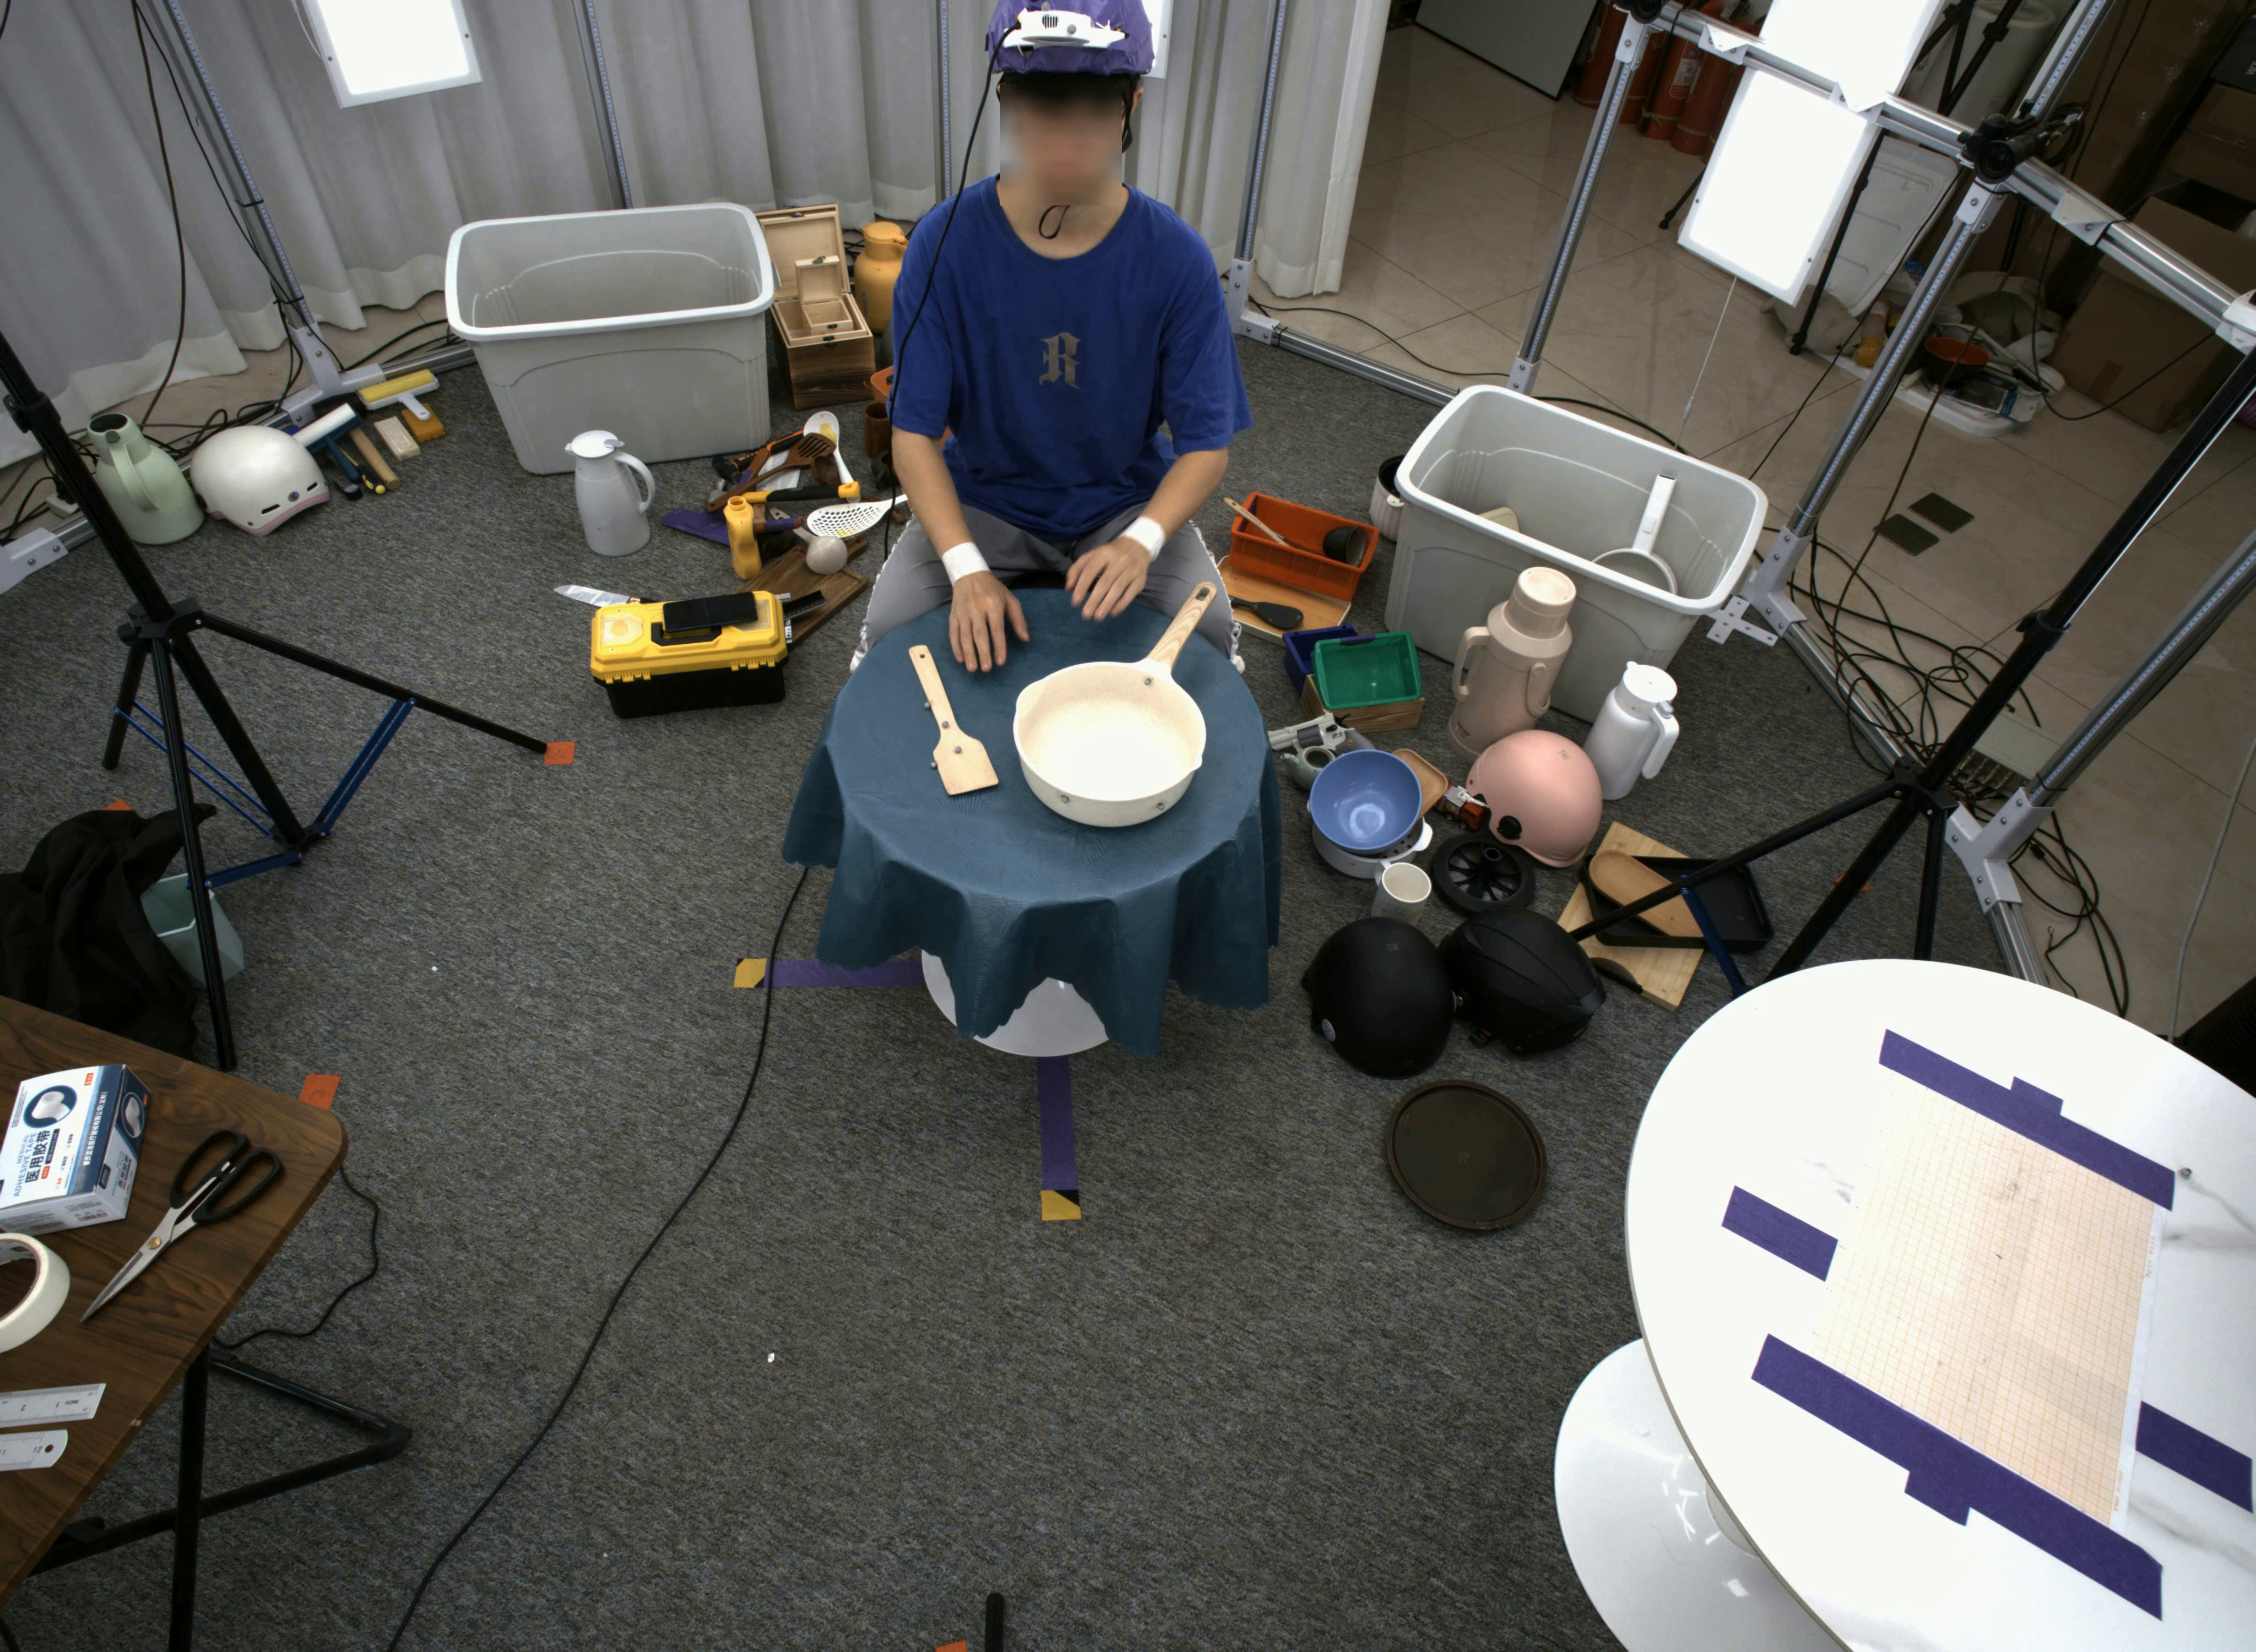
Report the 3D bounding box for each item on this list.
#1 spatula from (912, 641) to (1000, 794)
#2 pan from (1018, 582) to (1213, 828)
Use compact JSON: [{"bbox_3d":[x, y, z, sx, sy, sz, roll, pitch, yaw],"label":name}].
[{"bbox_3d":[-0.253,-0.157,1.786,0.072,0.010,0.300,-15,53,-14],"label":"spatula"},{"bbox_3d":[0.020,-0.169,1.756,0.265,0.099,0.442,21,51,15],"label":"pan"}]
